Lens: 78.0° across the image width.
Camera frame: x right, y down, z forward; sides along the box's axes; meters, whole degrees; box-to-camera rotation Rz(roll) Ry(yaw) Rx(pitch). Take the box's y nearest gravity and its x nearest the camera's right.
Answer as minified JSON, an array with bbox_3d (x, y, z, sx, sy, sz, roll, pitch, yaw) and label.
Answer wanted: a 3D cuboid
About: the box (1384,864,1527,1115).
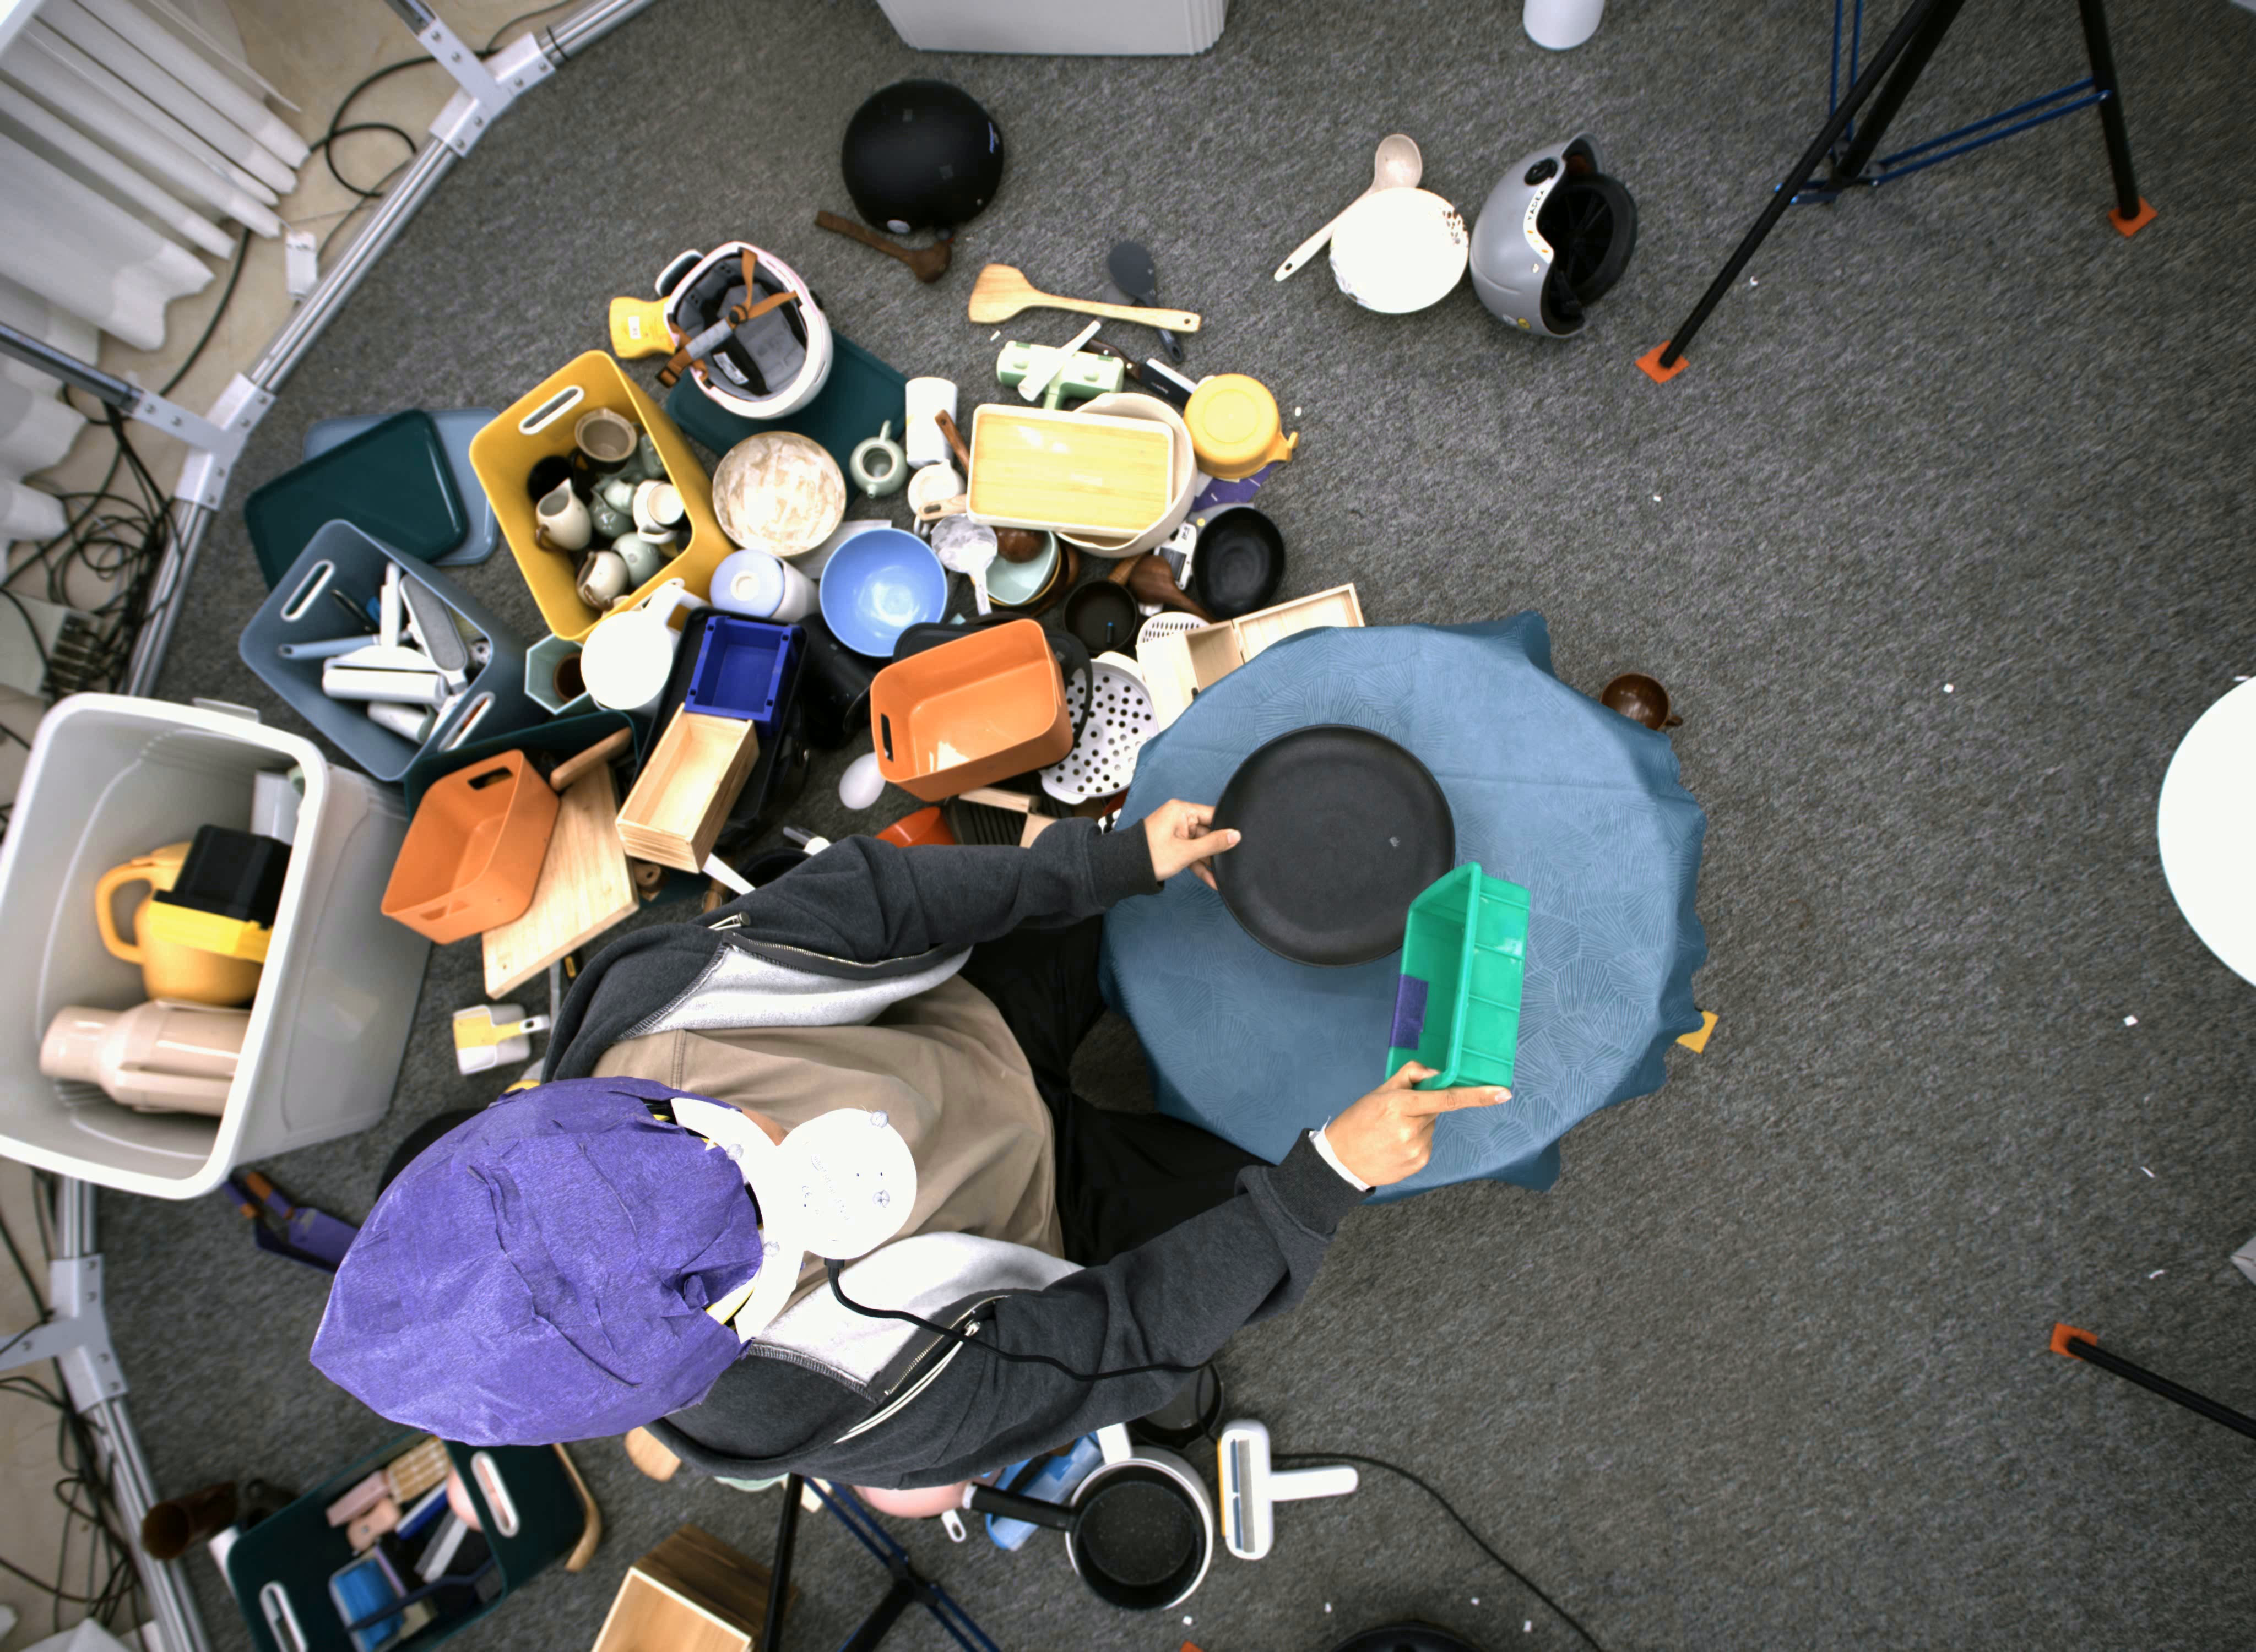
[{"bbox_3d":[0.292,0.149,1.222,0.065,0.141,0.206,14,67,-8],"label":"box"}]

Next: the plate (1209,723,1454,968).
[{"bbox_3d":[0.202,0.019,1.378,0.245,0.023,0.244,0,90,5],"label":"plate"}]
